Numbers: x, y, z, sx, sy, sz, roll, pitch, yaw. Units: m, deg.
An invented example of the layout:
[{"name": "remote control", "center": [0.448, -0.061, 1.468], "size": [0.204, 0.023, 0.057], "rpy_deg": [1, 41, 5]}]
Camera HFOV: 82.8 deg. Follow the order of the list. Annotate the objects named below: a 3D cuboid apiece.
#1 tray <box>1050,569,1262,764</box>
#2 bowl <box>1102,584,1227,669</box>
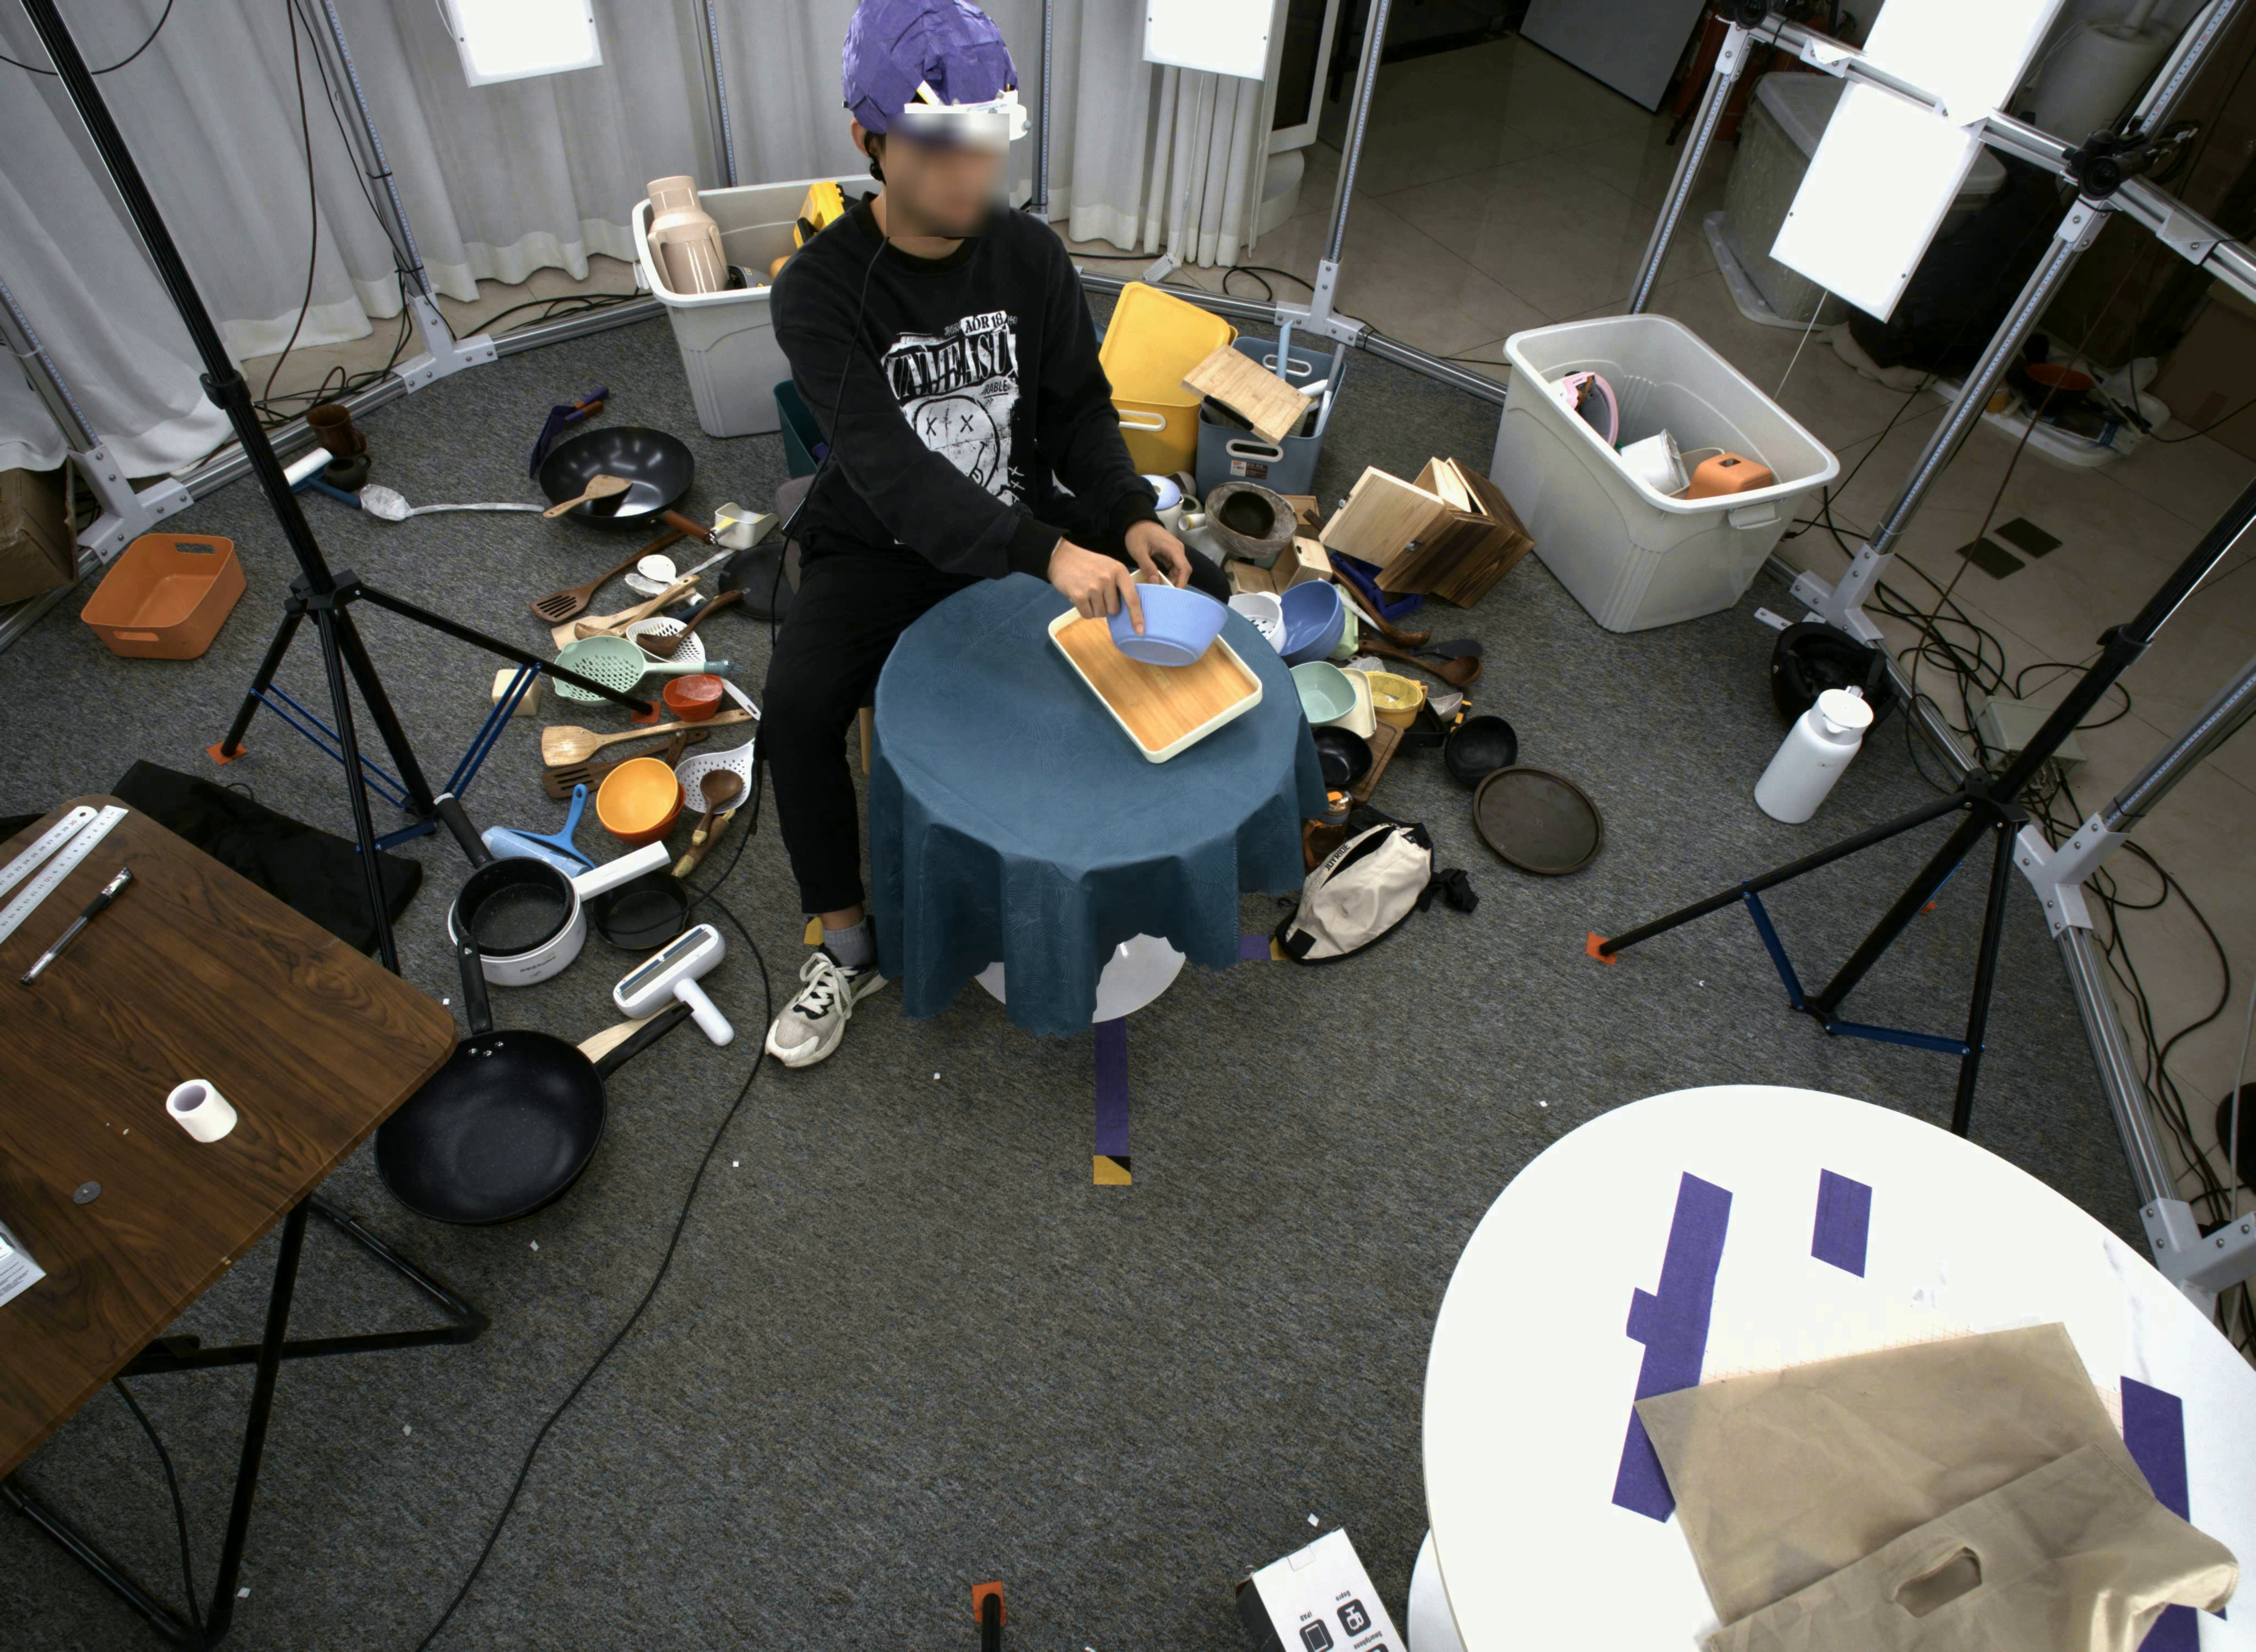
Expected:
[{"name": "tray", "center": [0.037, -0.234, 1.843], "size": [0.192, 0.027, 0.306], "rpy_deg": [-32, 57, -9]}, {"name": "bowl", "center": [0.045, -0.267, 1.770], "size": [0.176, 0.174, 0.071], "rpy_deg": [10, 79, 4]}]
